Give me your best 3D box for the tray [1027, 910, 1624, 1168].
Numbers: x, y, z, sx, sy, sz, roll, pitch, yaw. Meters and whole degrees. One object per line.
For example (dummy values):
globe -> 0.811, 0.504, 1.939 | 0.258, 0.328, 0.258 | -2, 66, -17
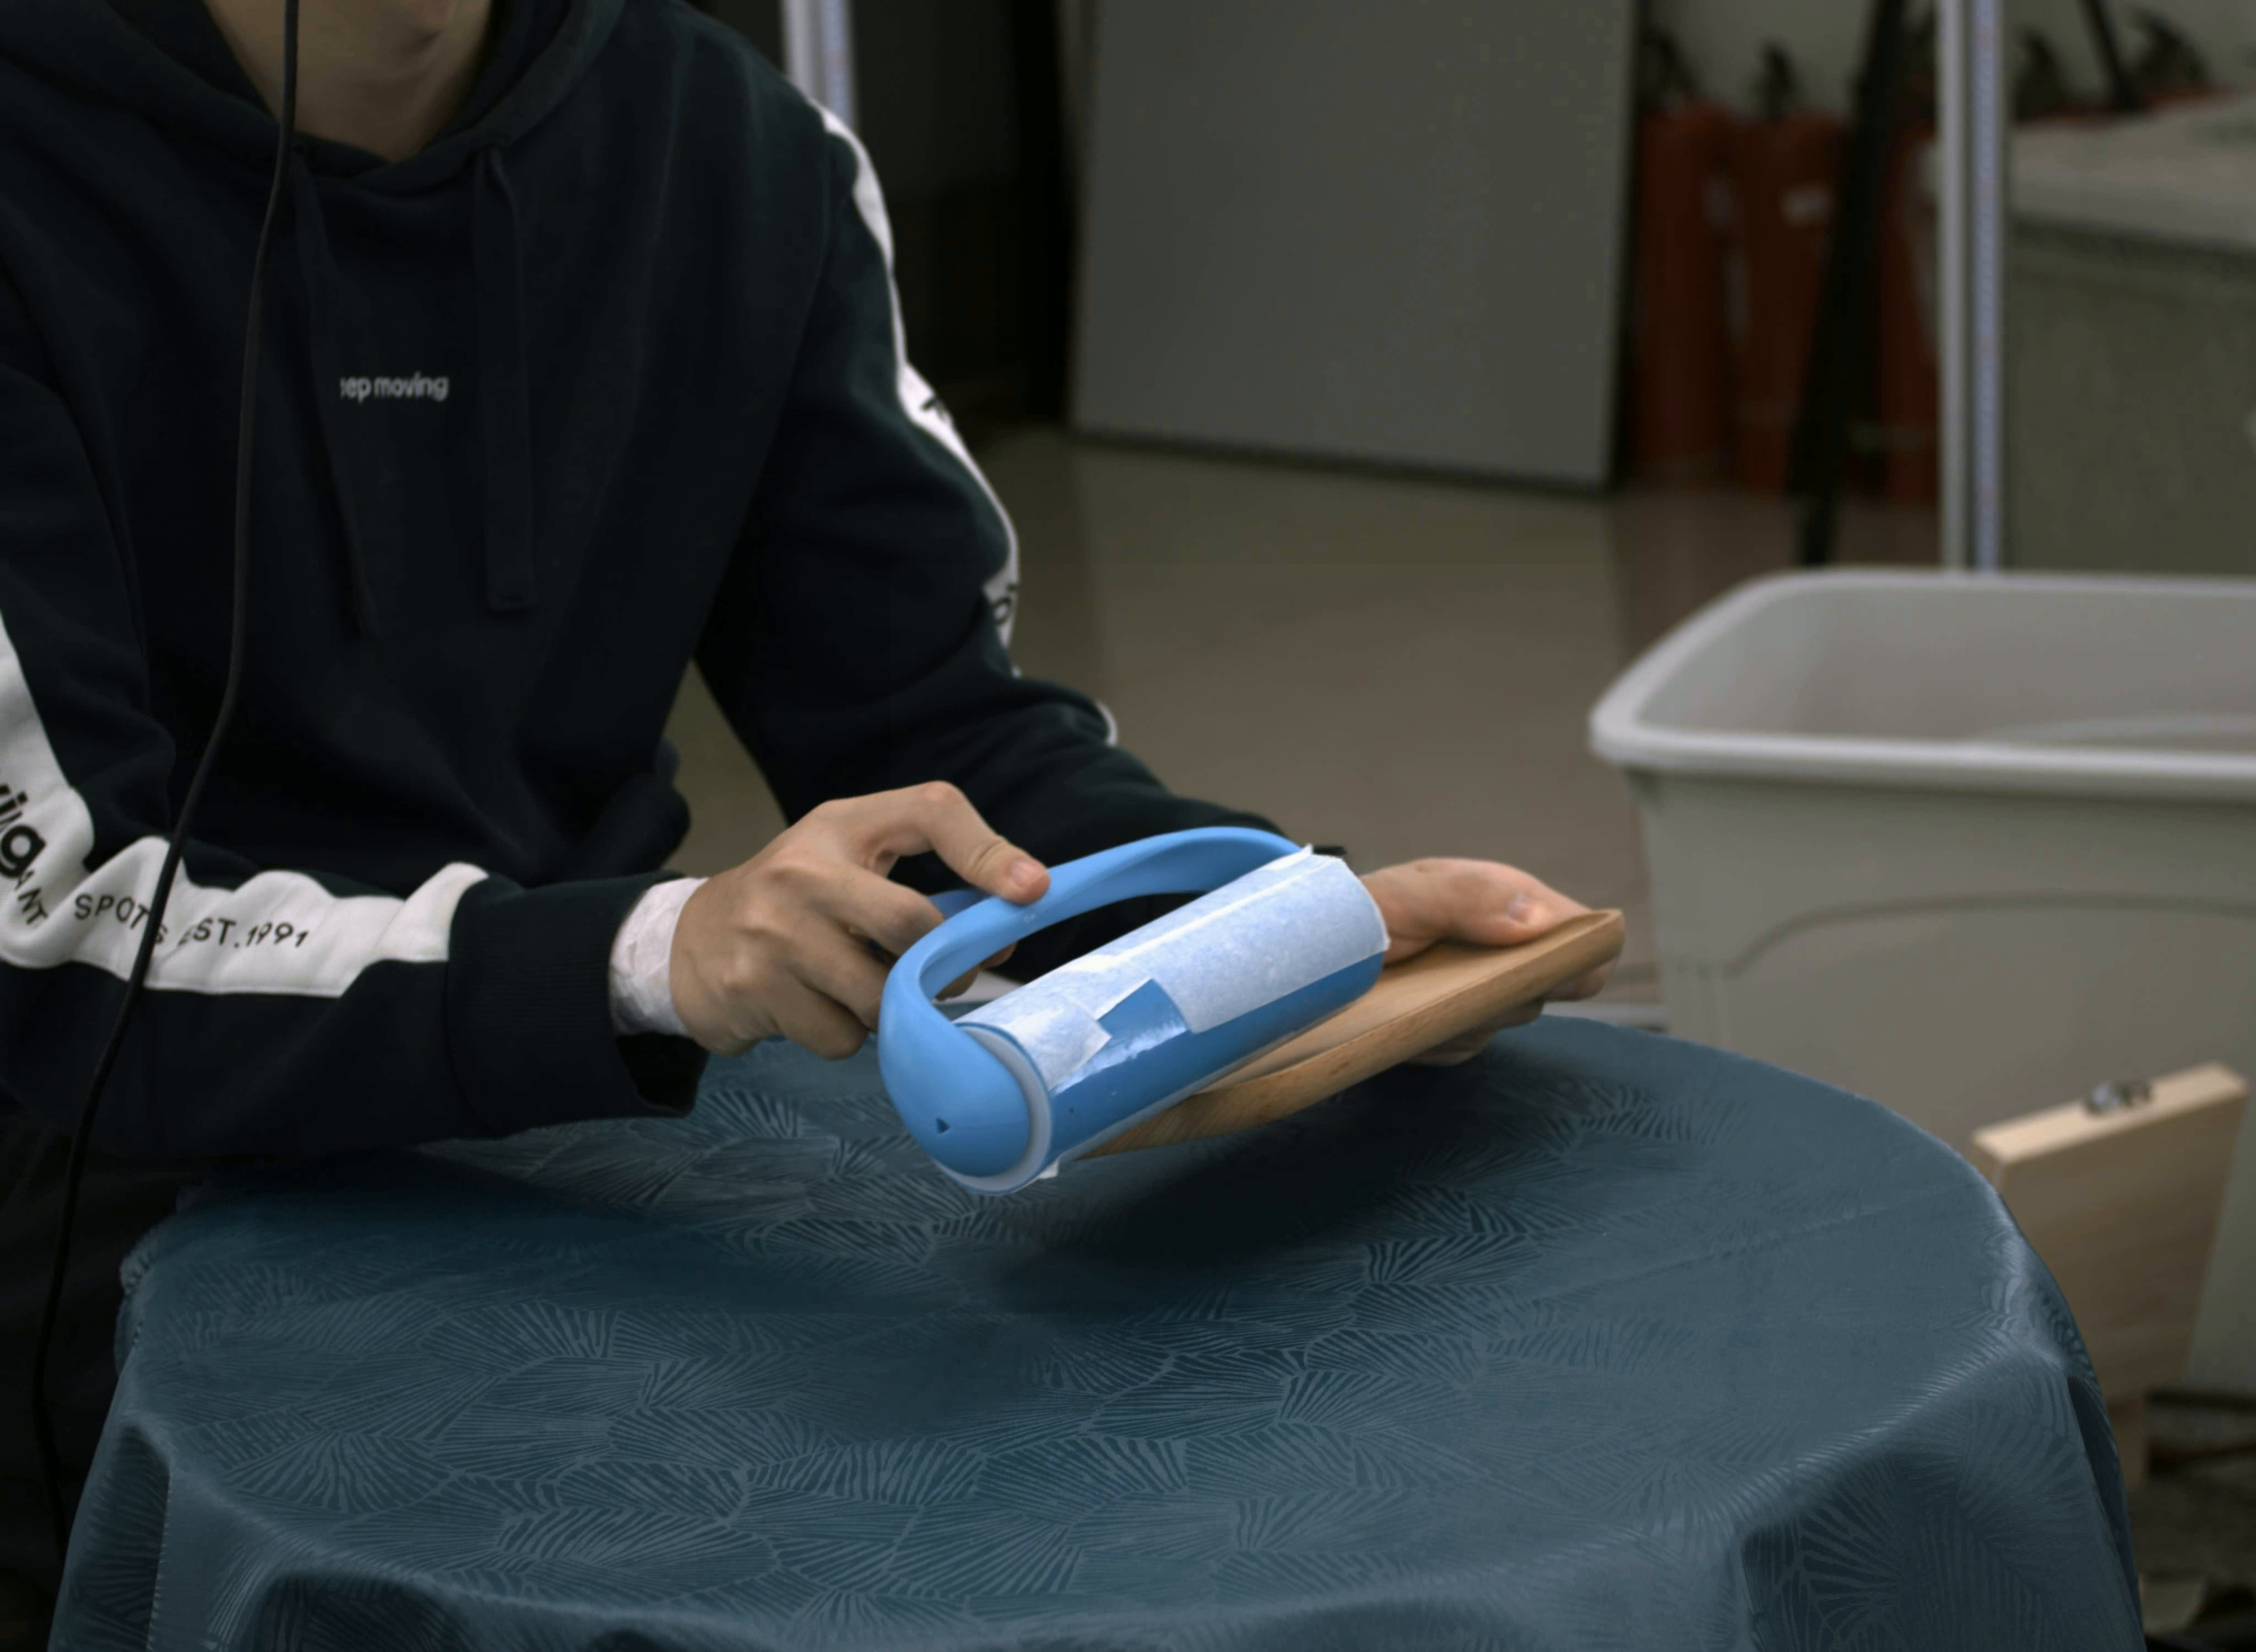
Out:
tray -> 0.059, 0.069, 1.762 | 0.131, 0.023, 0.246 | -17, 3, 39

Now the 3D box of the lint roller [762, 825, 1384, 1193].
lint roller -> -0.042, 0.051, 1.674 | 0.181, 0.068, 0.225 | 6, 19, 31
